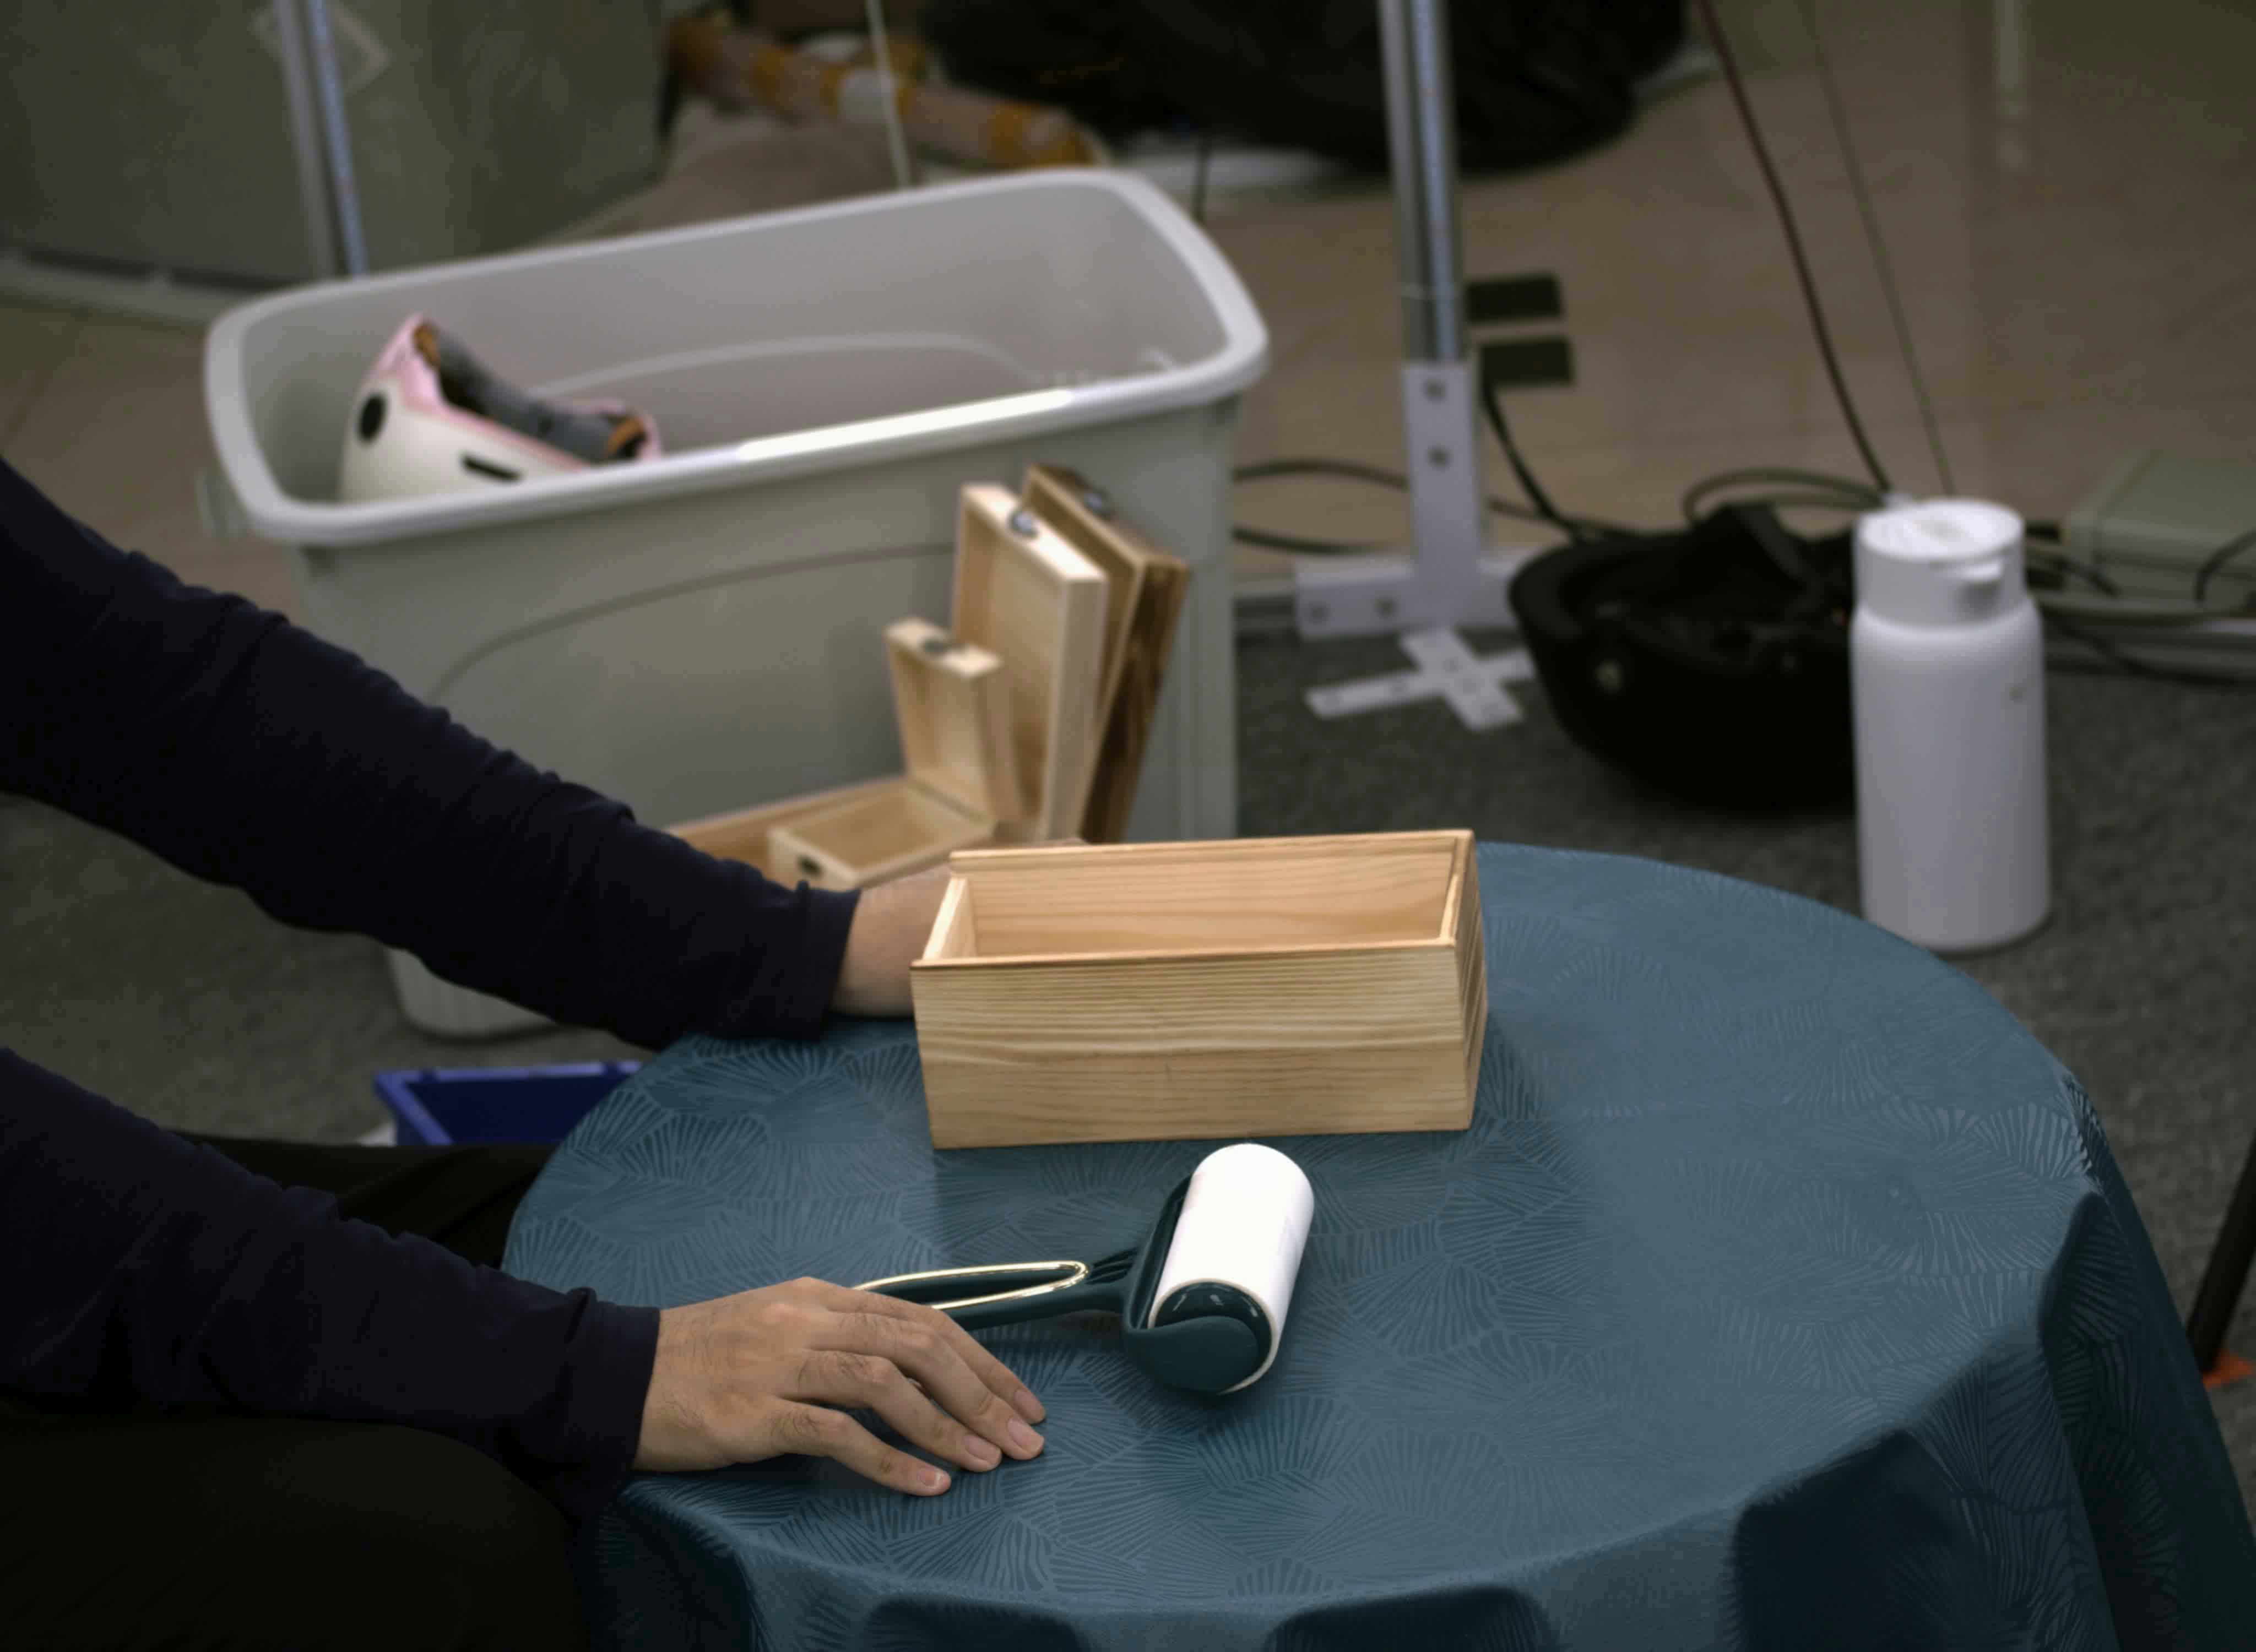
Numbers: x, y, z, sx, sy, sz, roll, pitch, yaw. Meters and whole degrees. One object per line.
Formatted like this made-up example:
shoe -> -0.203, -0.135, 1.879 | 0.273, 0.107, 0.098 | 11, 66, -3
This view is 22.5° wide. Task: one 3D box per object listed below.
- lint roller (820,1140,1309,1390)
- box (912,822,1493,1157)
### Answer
lint roller -> -0.028, 0.164, 2.056 | 0.180, 0.049, 0.132 | -5, 24, 11
box -> 0.031, 0.063, 2.211 | 0.211, 0.081, 0.106 | -4, 26, 9
